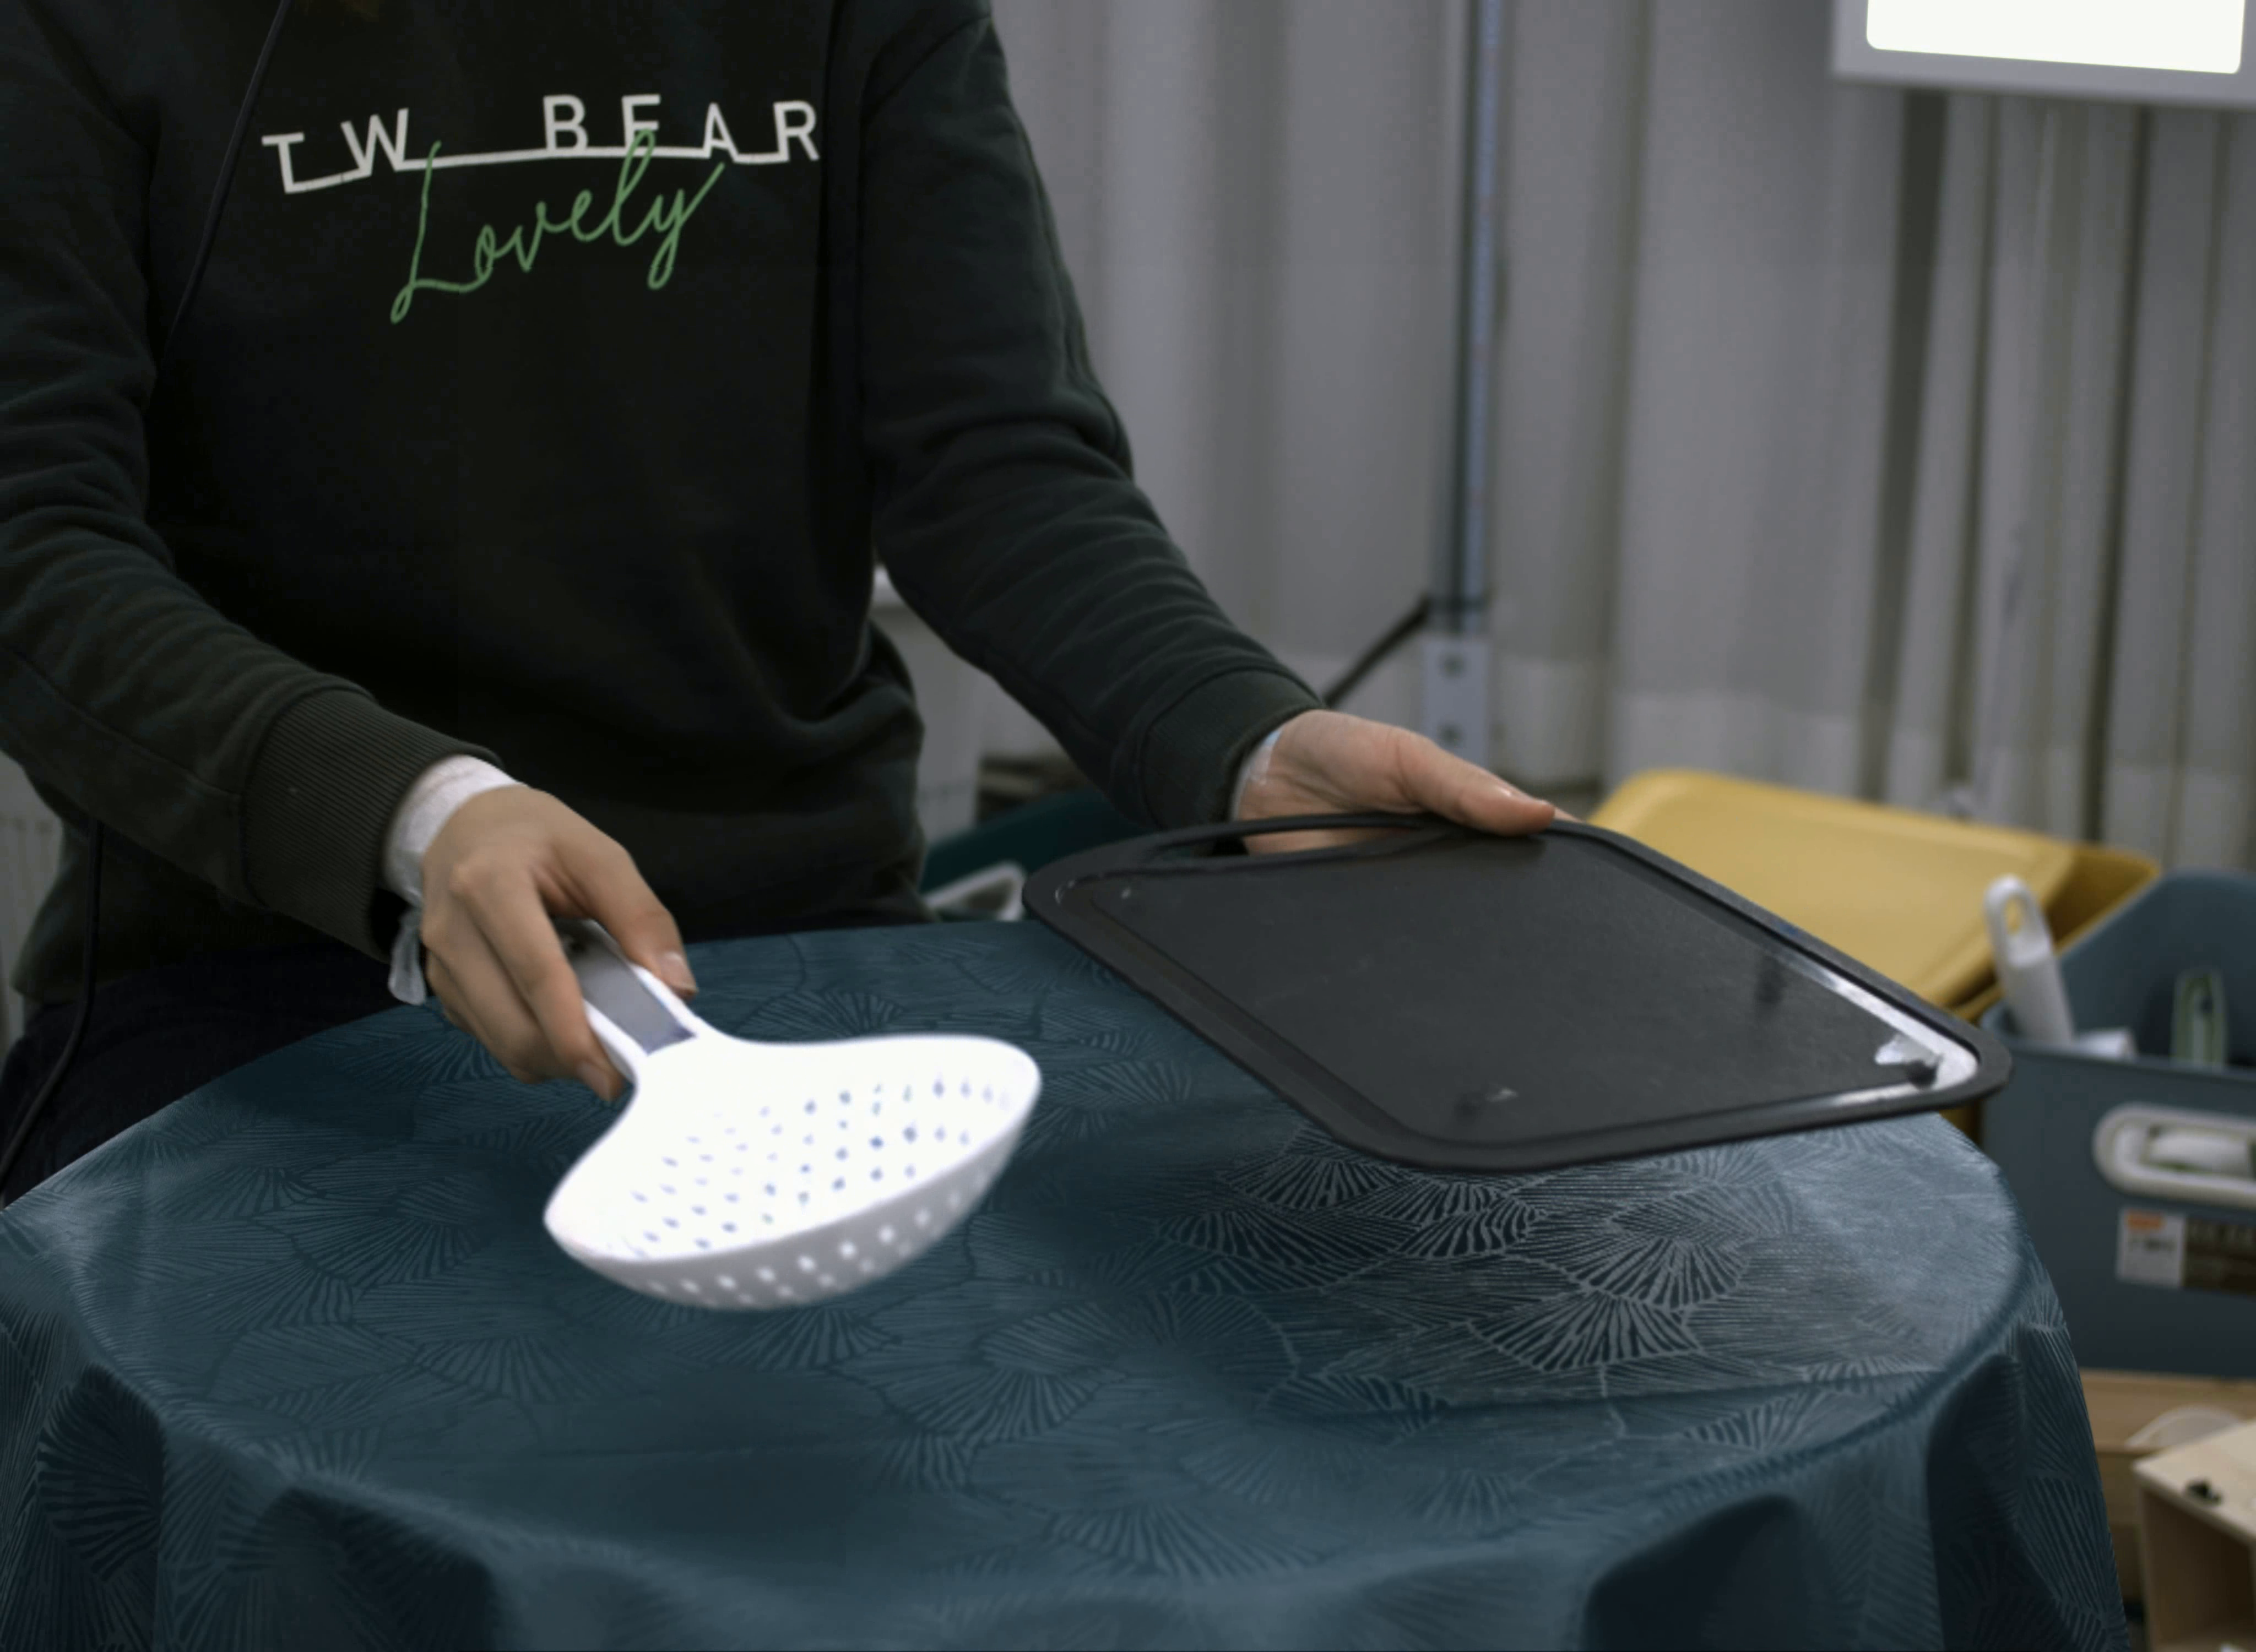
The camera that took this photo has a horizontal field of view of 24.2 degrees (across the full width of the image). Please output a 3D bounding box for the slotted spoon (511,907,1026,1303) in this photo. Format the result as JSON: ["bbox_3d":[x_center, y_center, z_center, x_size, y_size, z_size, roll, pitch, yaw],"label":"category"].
[{"bbox_3d":[-0.125,0.068,1.486,0.136,0.046,0.346,-20,22,-15],"label":"slotted spoon"}]

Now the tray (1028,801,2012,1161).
[{"bbox_3d":[0.105,0.039,1.573,0.212,0.010,0.321,-6,18,-23],"label":"tray"}]
